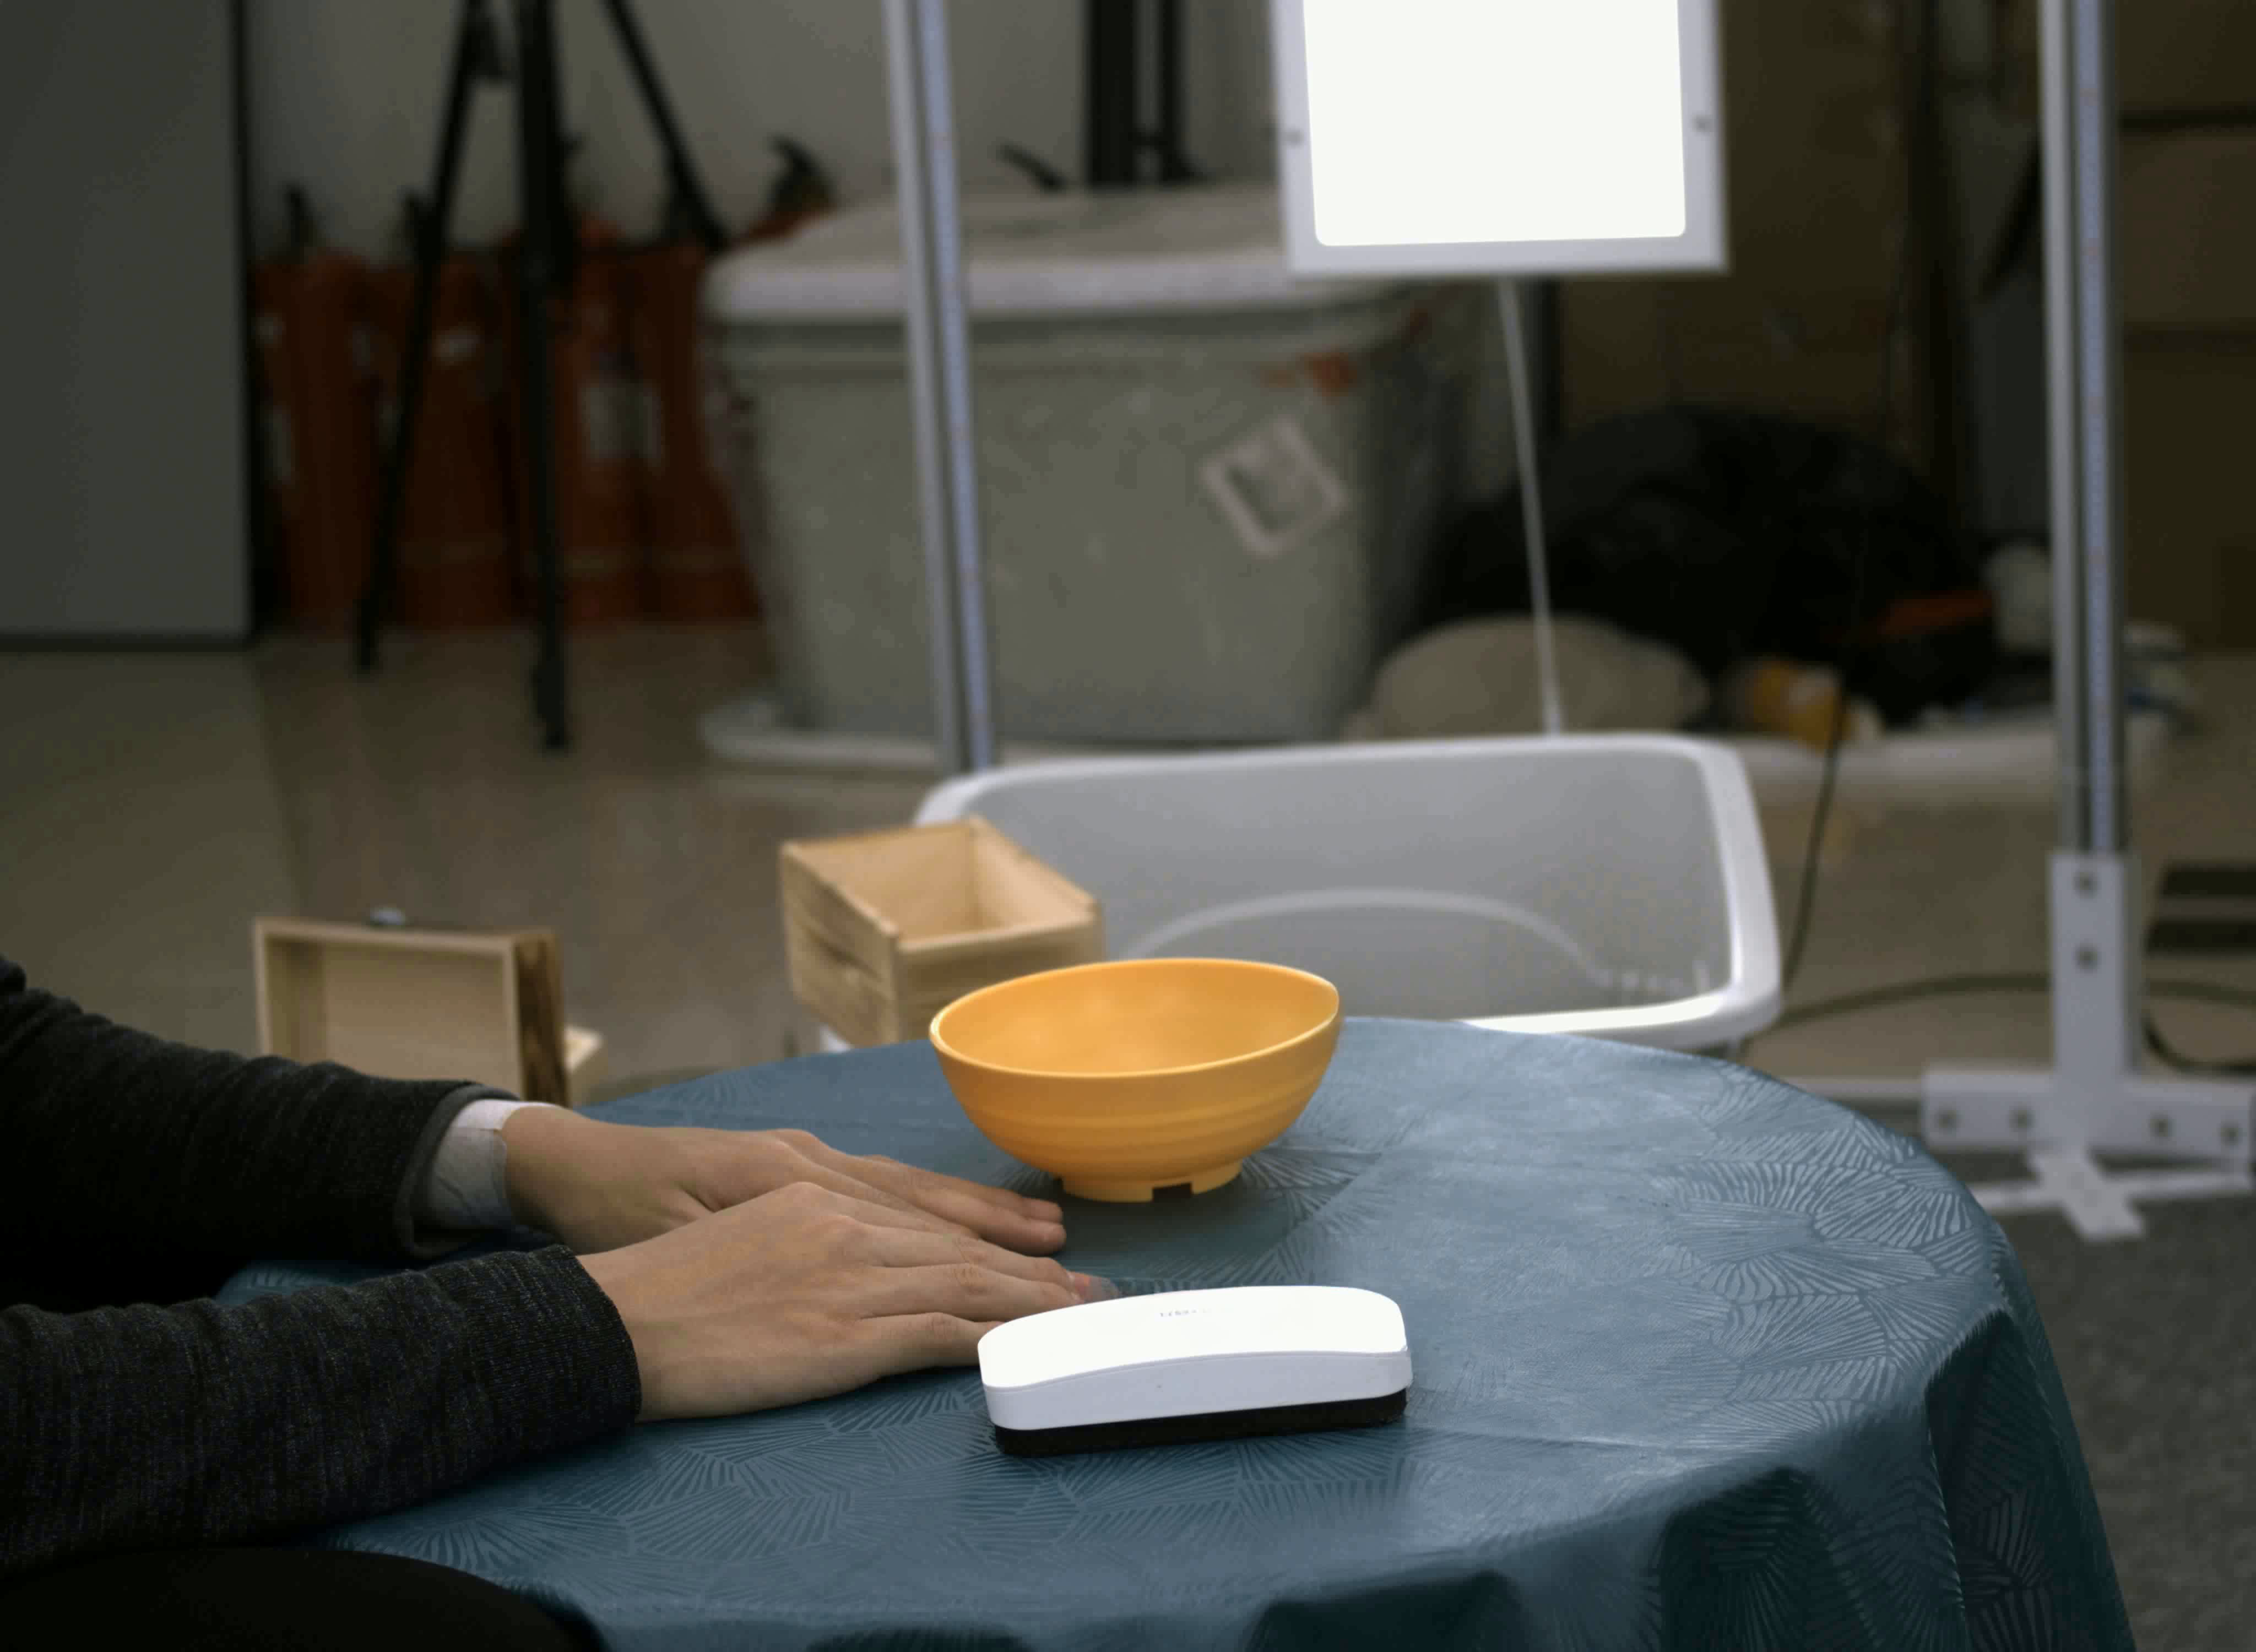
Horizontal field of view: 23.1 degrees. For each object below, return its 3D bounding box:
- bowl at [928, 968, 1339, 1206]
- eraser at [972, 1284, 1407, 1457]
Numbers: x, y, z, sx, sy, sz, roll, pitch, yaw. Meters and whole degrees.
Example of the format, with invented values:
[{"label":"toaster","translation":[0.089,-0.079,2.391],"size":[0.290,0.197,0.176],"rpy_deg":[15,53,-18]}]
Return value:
[{"label":"bowl","translation":[0.005,0.094,1.908],"size":[0.145,0.060,0.145],"rpy_deg":[-6,12,0]},{"label":"eraser","translation":[0.019,0.164,1.674],"size":[0.131,0.034,0.063],"rpy_deg":[-4,13,0]}]
